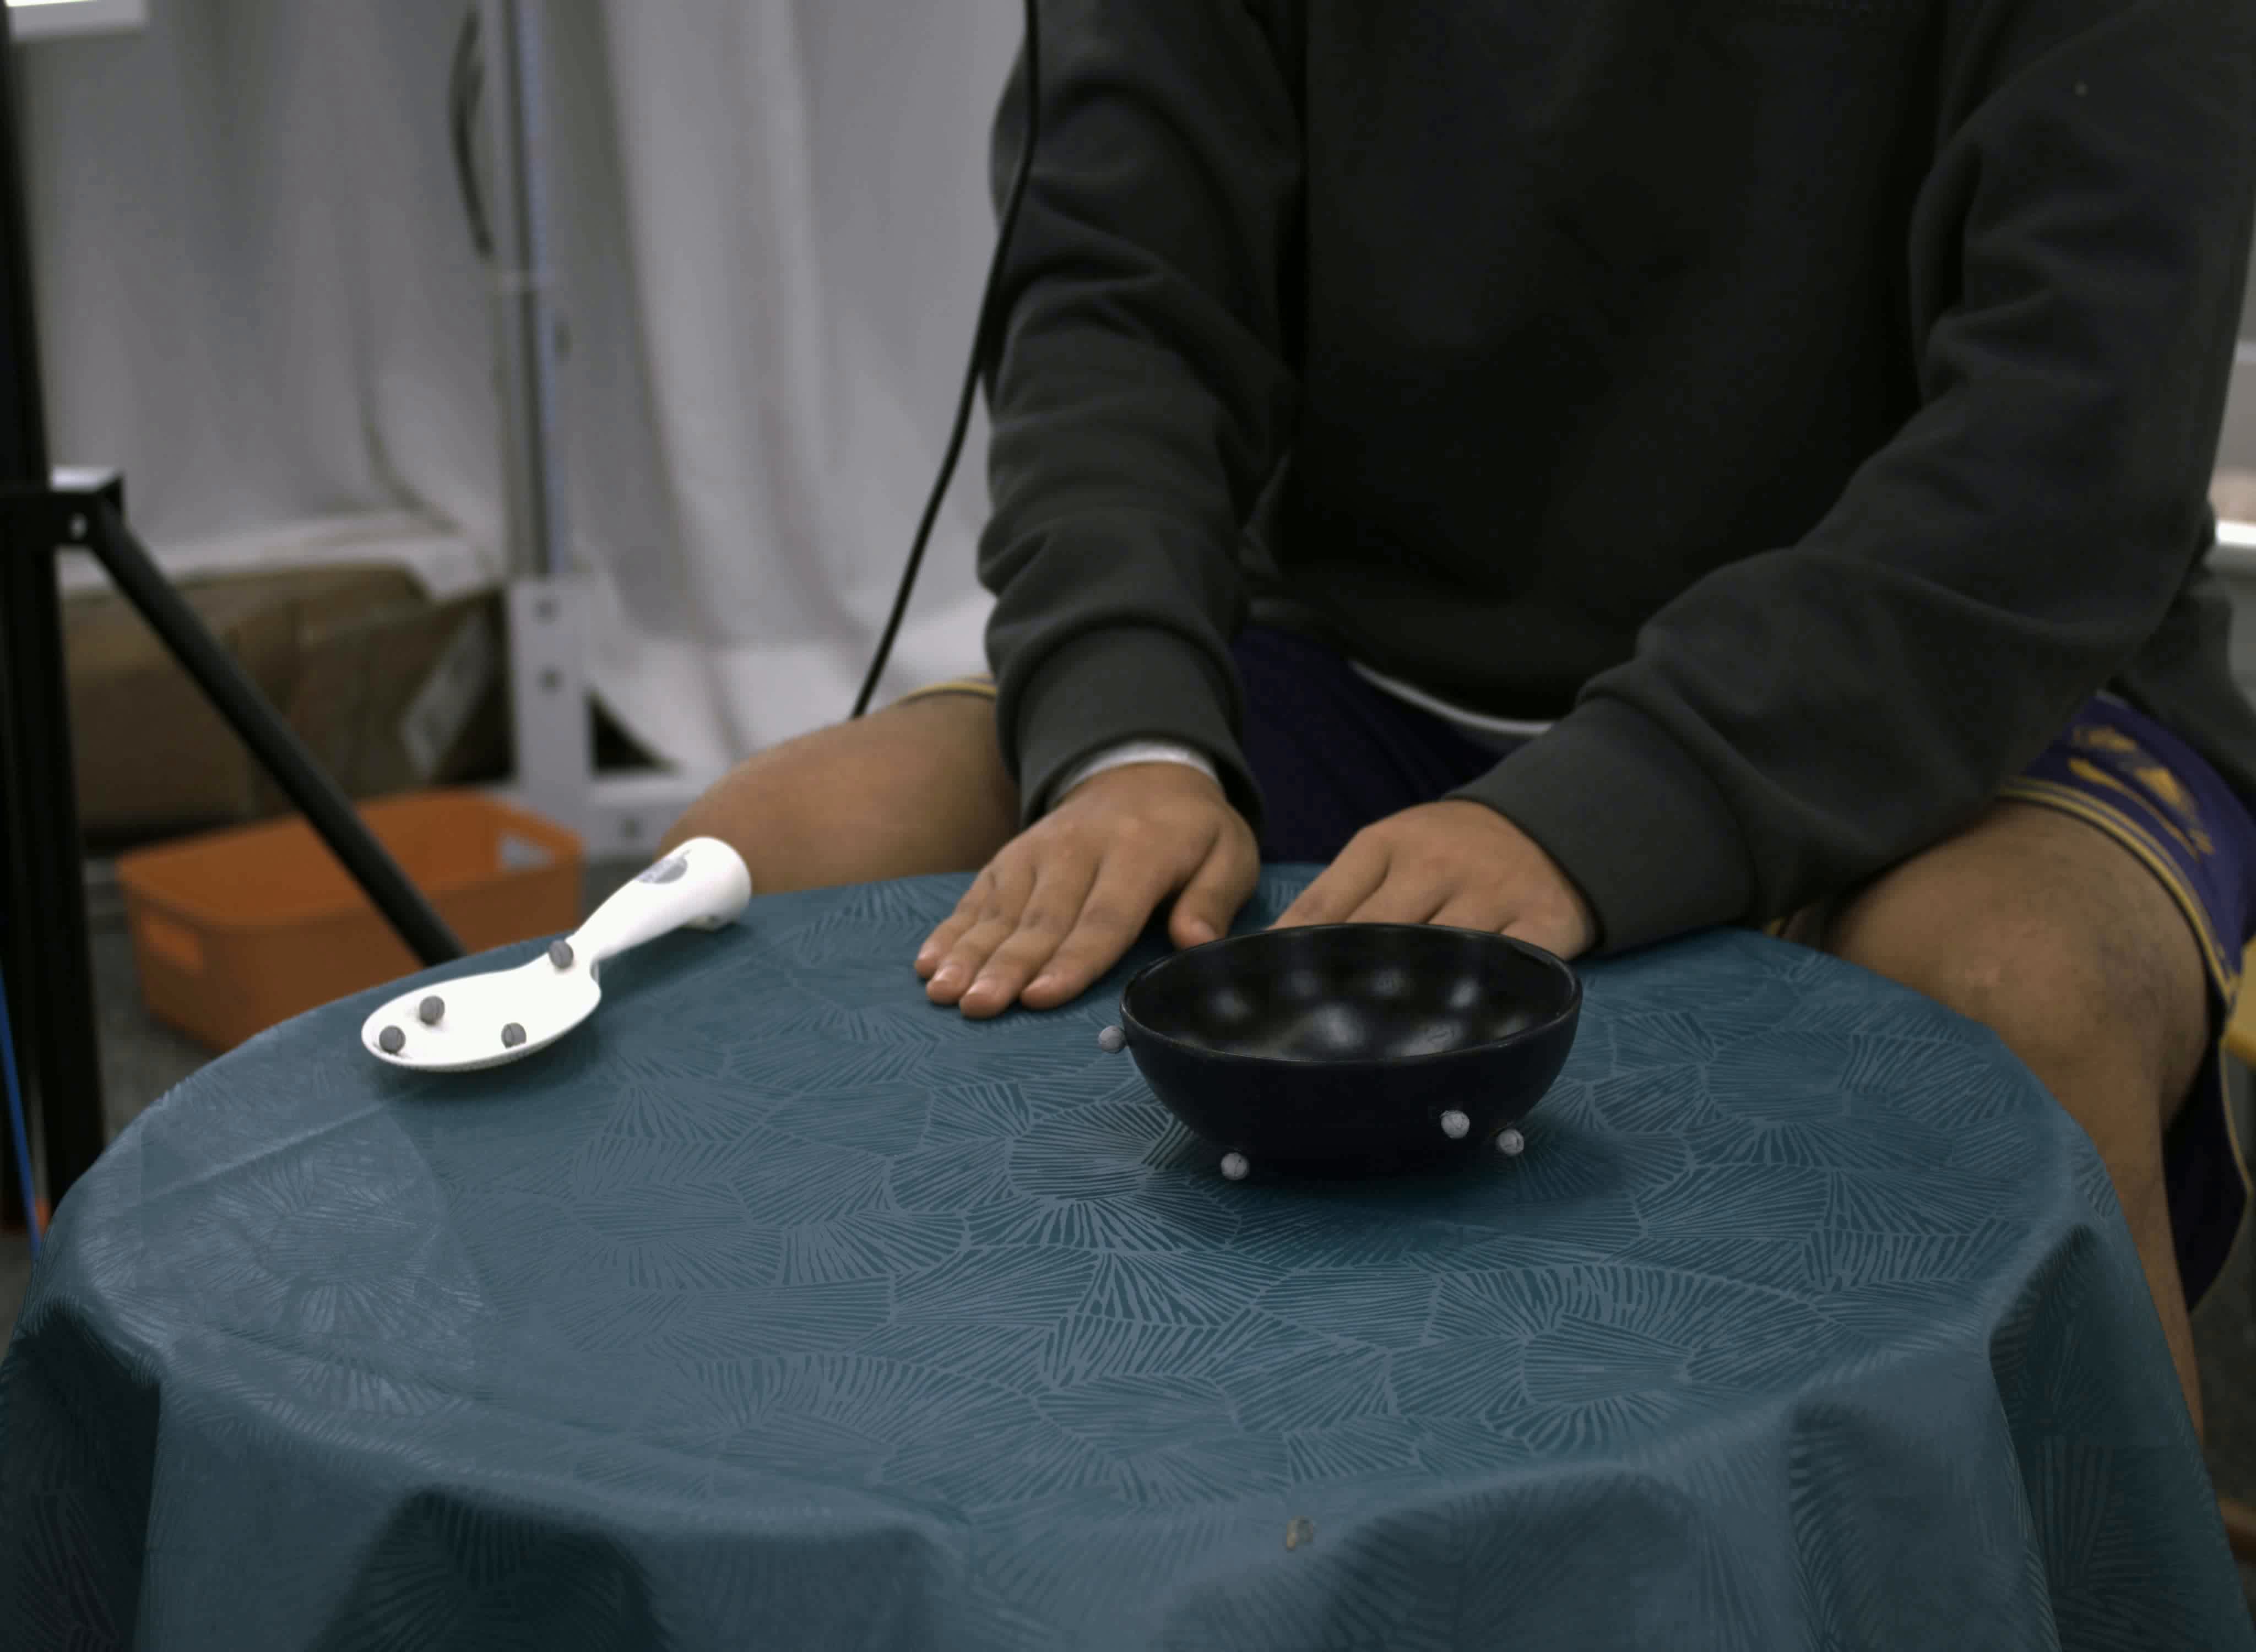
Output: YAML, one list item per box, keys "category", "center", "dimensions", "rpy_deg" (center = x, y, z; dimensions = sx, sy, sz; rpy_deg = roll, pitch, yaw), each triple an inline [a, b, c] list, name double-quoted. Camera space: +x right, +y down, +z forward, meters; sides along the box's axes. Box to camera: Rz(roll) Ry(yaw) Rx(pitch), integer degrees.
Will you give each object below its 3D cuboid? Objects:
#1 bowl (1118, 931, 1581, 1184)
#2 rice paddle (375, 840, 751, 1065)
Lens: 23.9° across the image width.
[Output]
- category: "bowl"
  center: [0.067, 0.073, 1.587]
  dimensions: [0.139, 0.050, 0.140]
  rpy_deg: [-3, 14, -1]
- category: "rice paddle"
  center: [-0.182, 0.044, 1.761]
  dimensions: [0.070, 0.029, 0.202]
  rpy_deg: [3, 16, 23]
